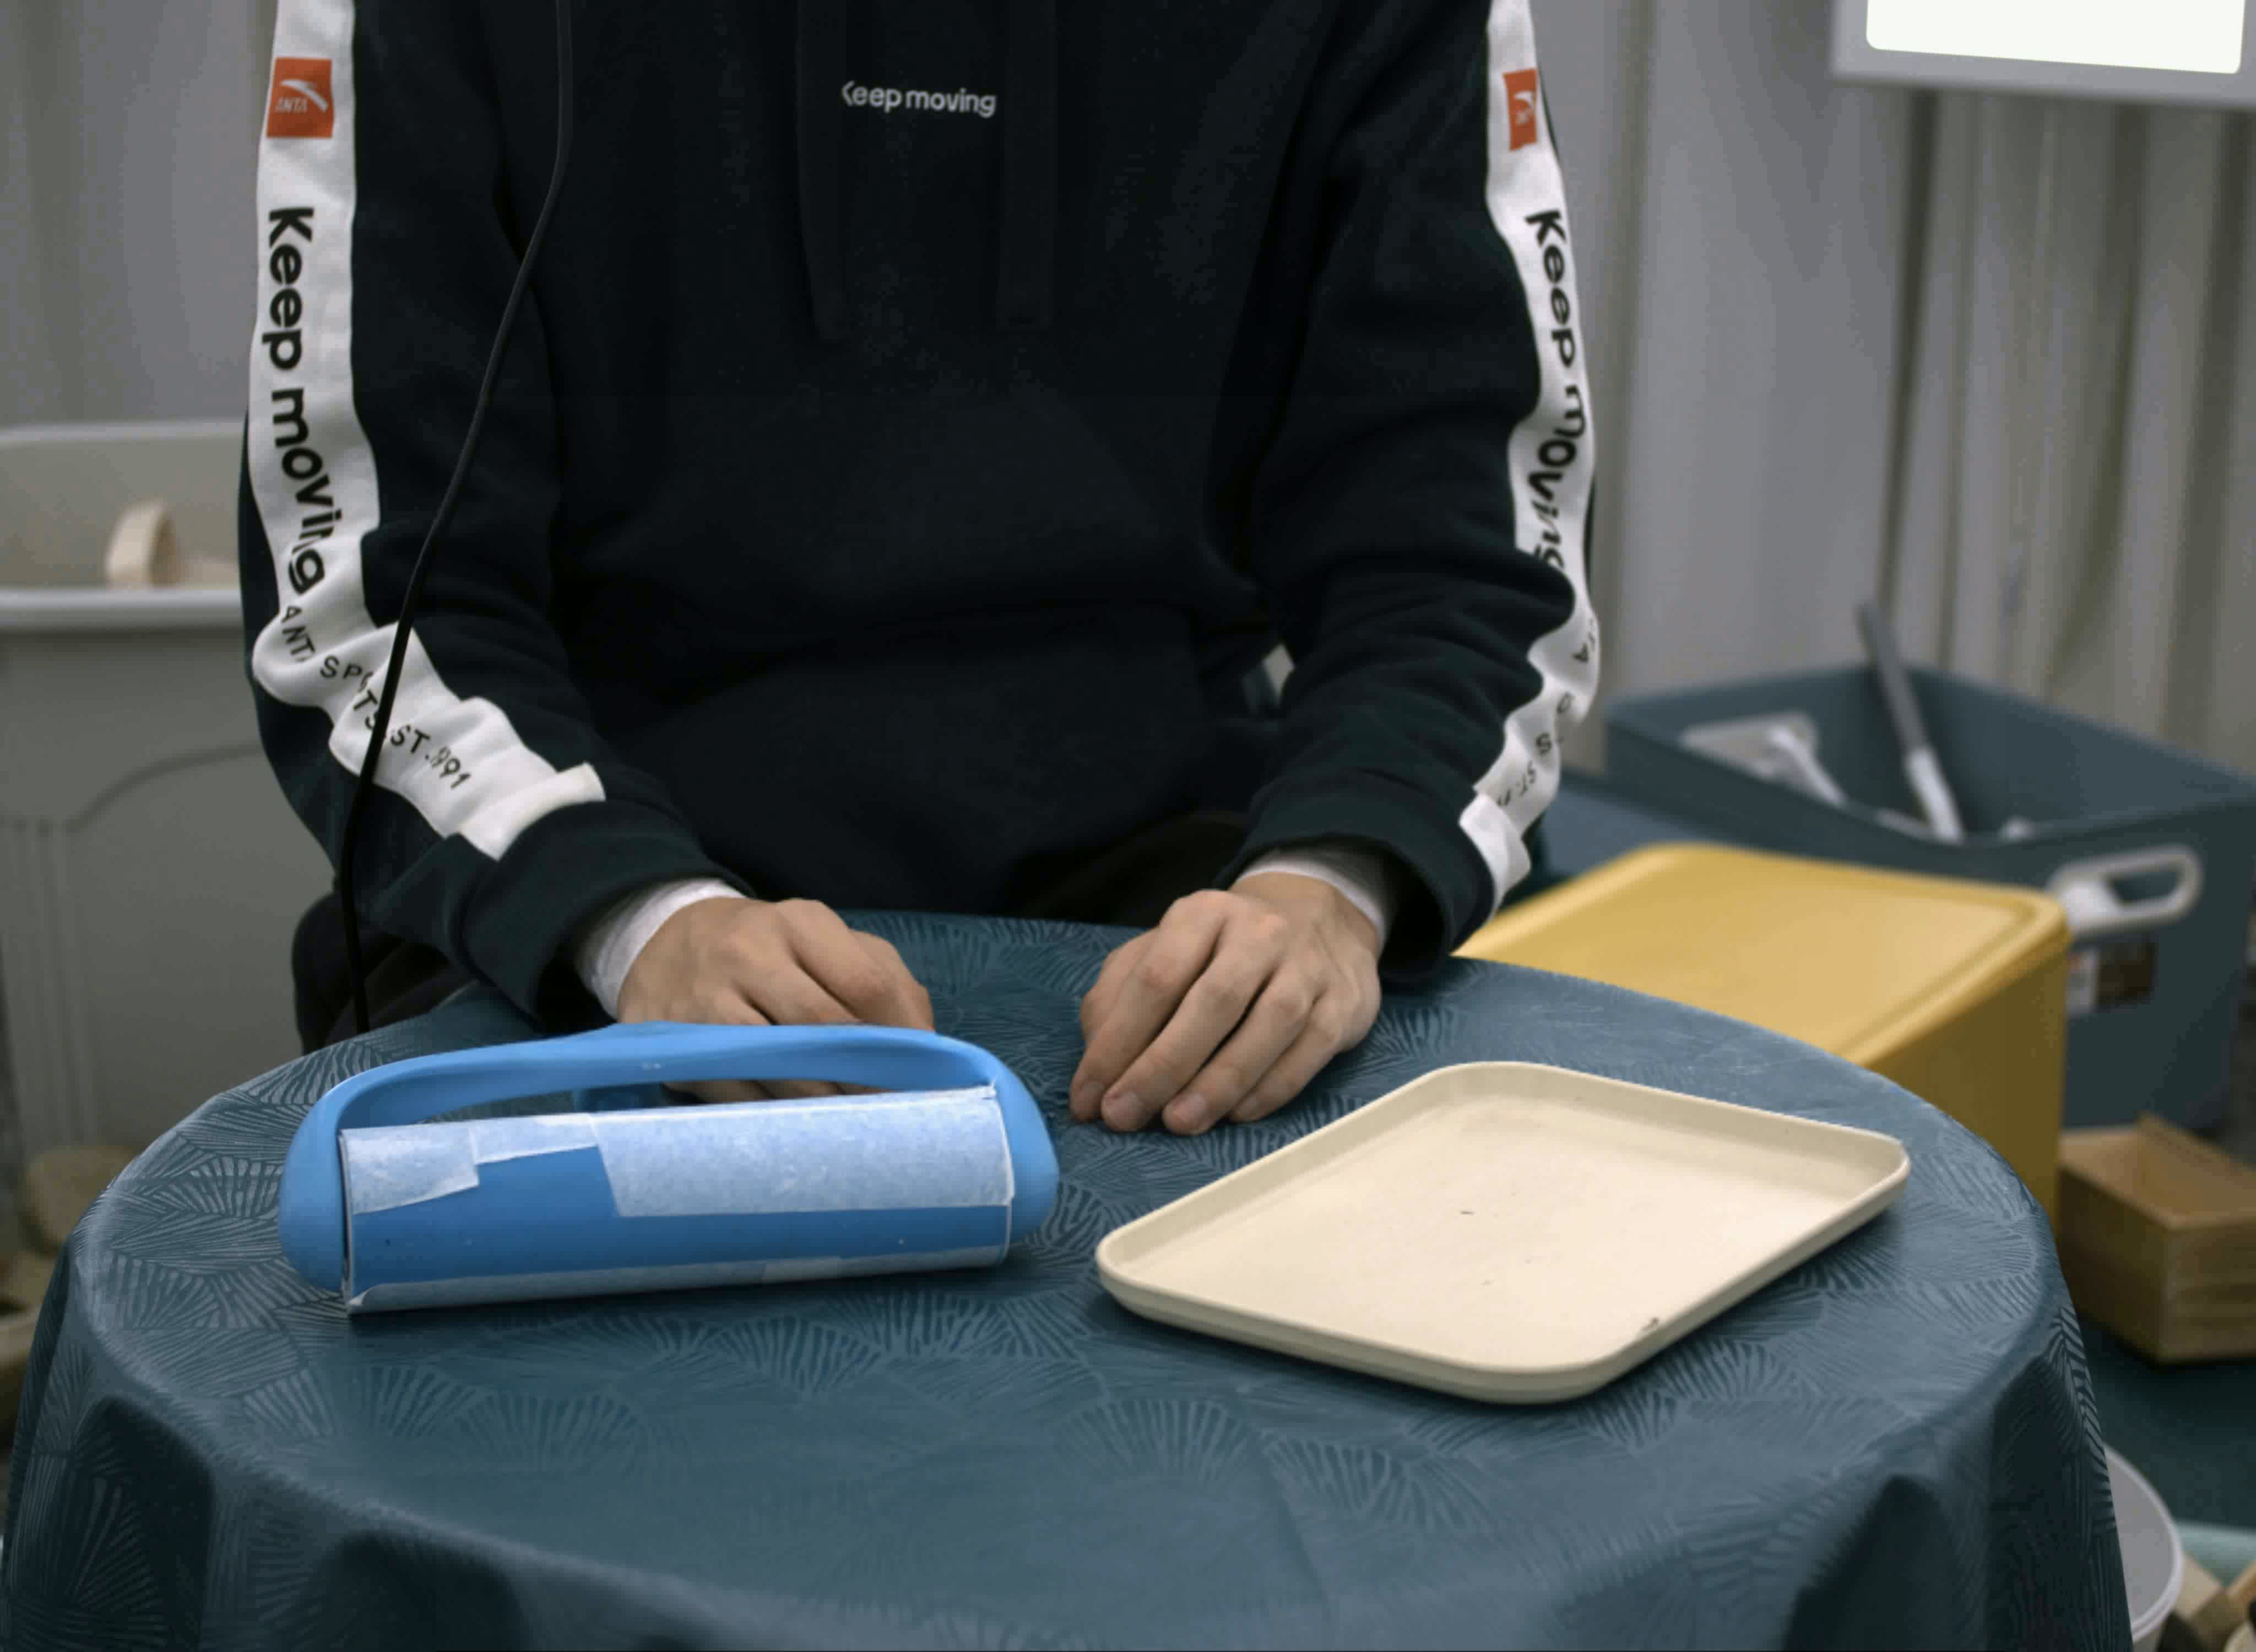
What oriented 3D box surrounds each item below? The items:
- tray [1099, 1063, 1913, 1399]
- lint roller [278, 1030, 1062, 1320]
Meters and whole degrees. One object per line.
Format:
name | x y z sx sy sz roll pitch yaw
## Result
tray | 0.115 0.119 1.566 0.169 0.017 0.240 10 18 32
lint roller | -0.147 0.092 1.582 0.229 0.068 0.178 -5 17 -15
